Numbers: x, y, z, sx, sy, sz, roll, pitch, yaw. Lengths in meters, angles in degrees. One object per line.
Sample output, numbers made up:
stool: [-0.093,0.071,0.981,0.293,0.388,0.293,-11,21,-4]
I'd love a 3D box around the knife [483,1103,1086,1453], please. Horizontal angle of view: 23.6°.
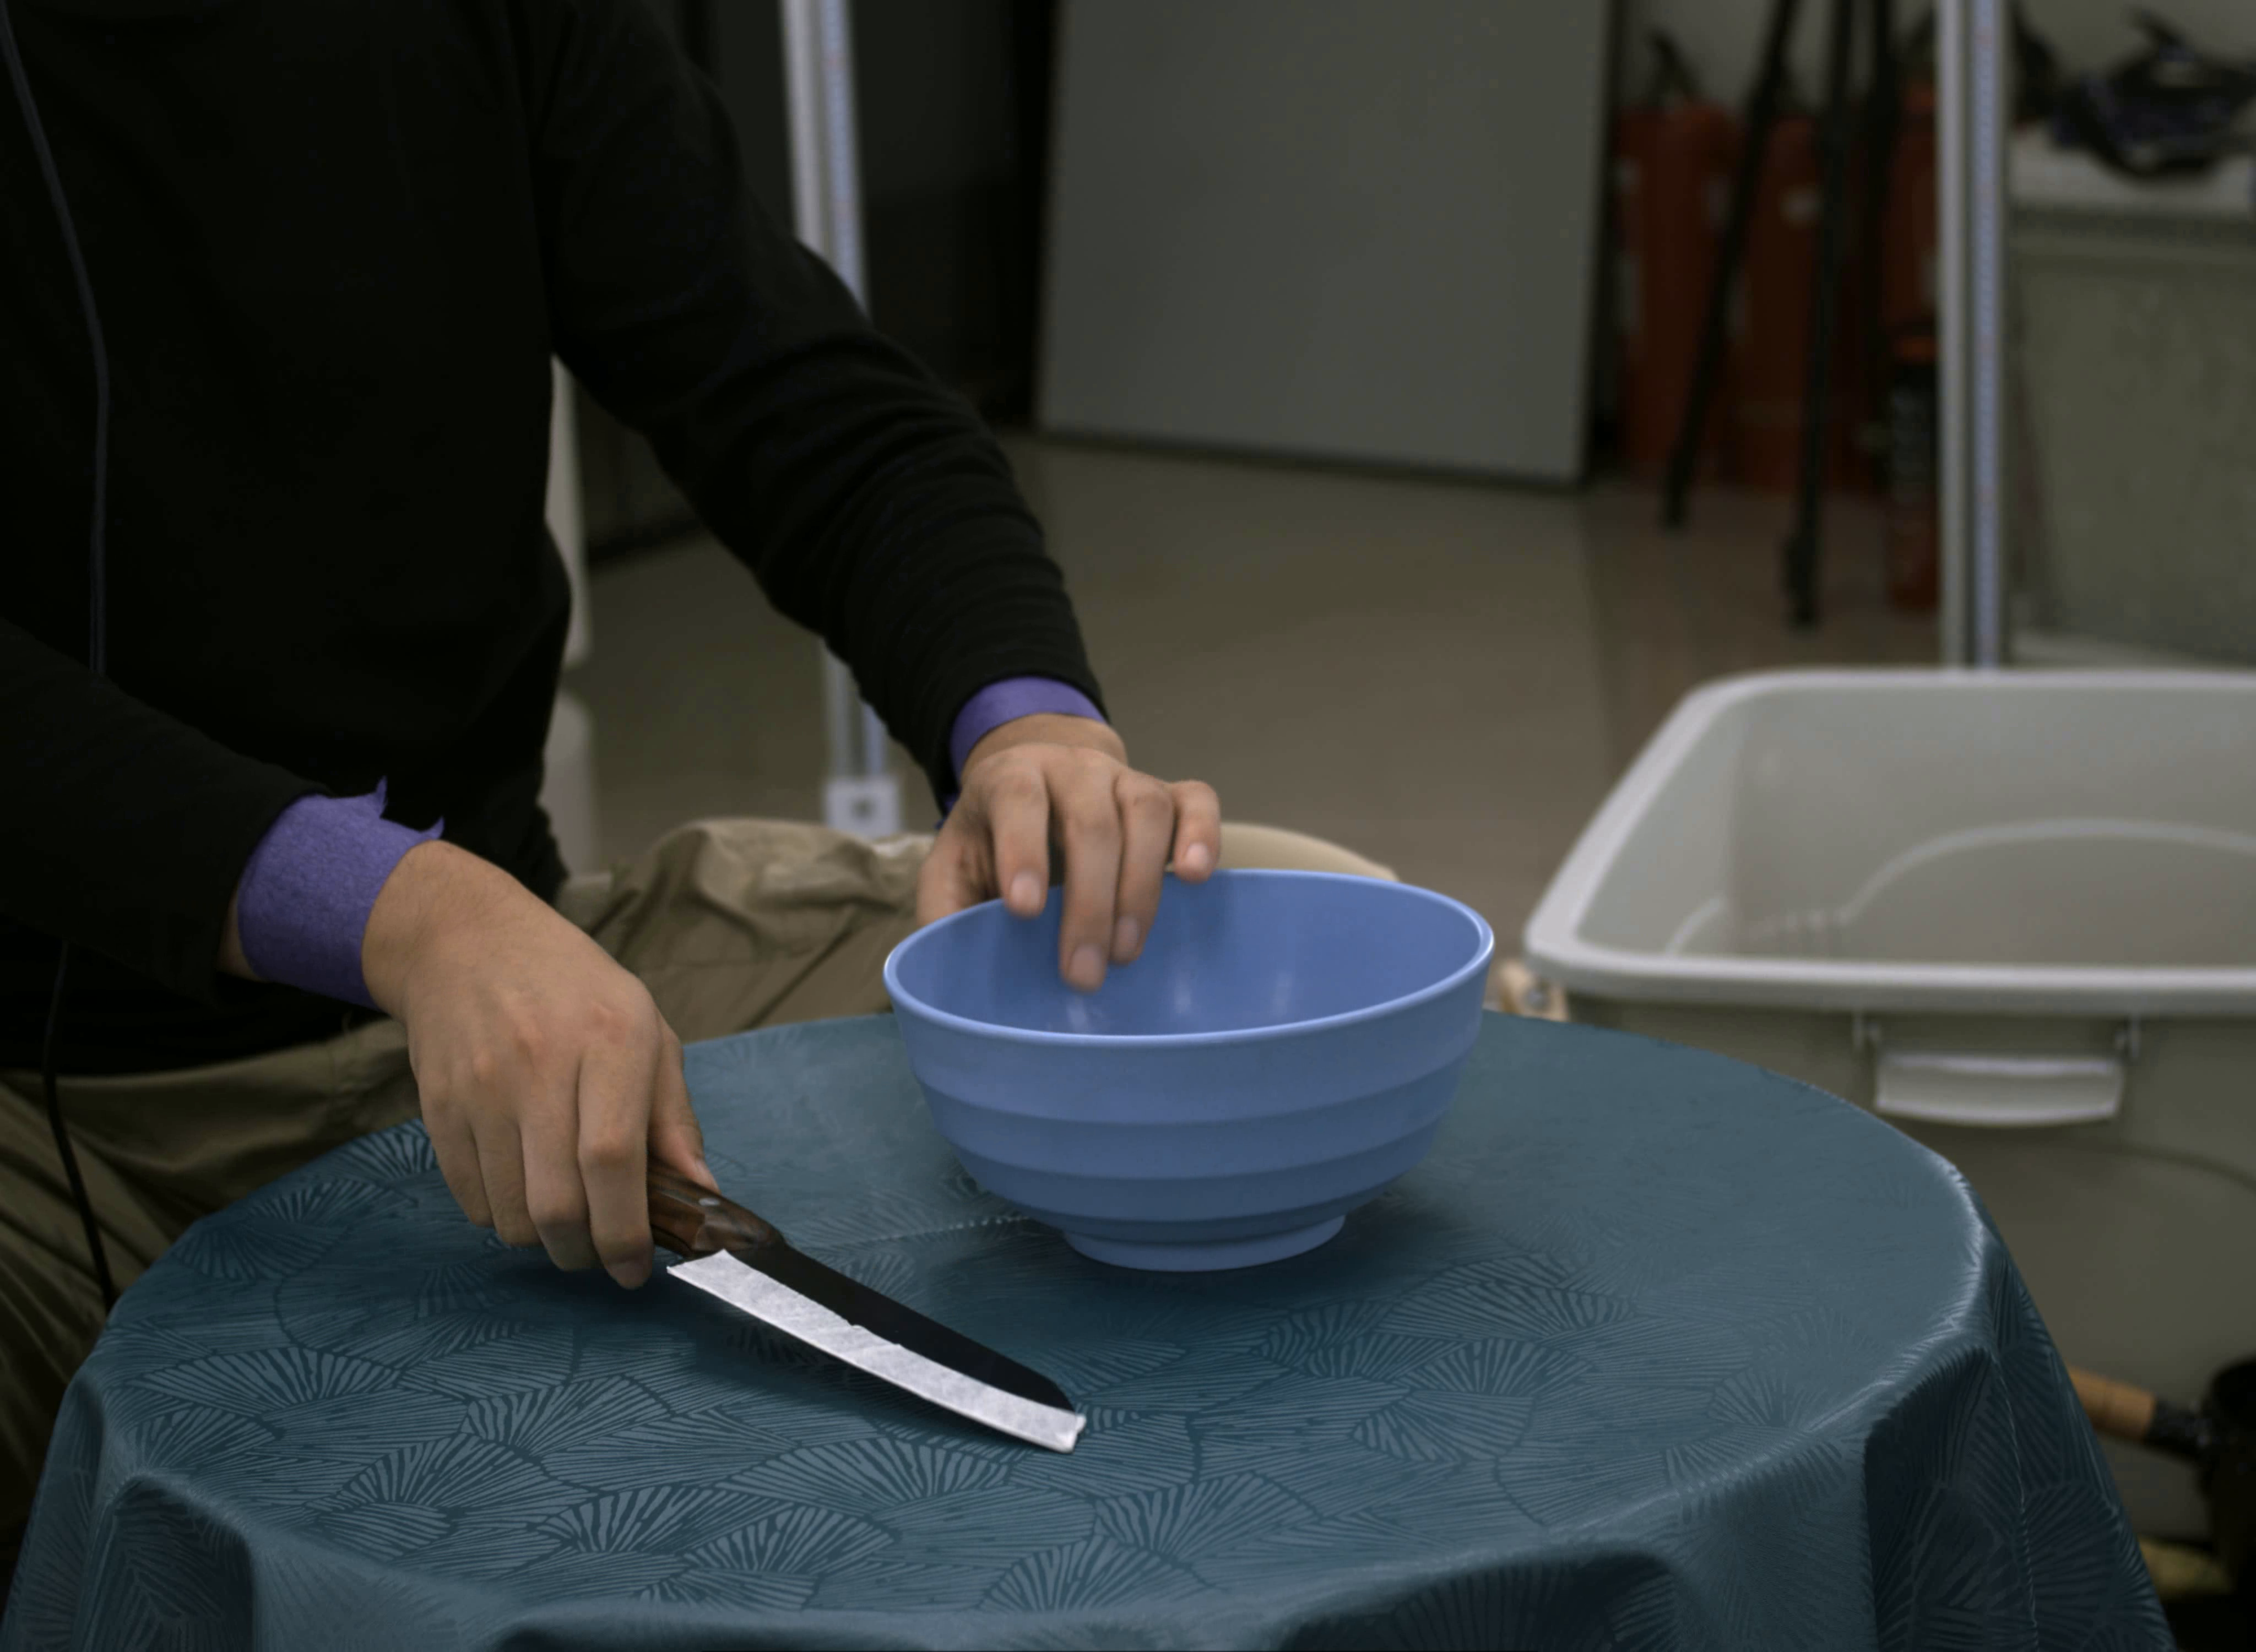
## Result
knife: [-0.108,0.138,1.647,0.049,0.020,0.292,-13,25,-39]

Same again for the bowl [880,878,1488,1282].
bowl: [0.022,0.086,1.722,0.194,0.096,0.197,-6,13,0]
